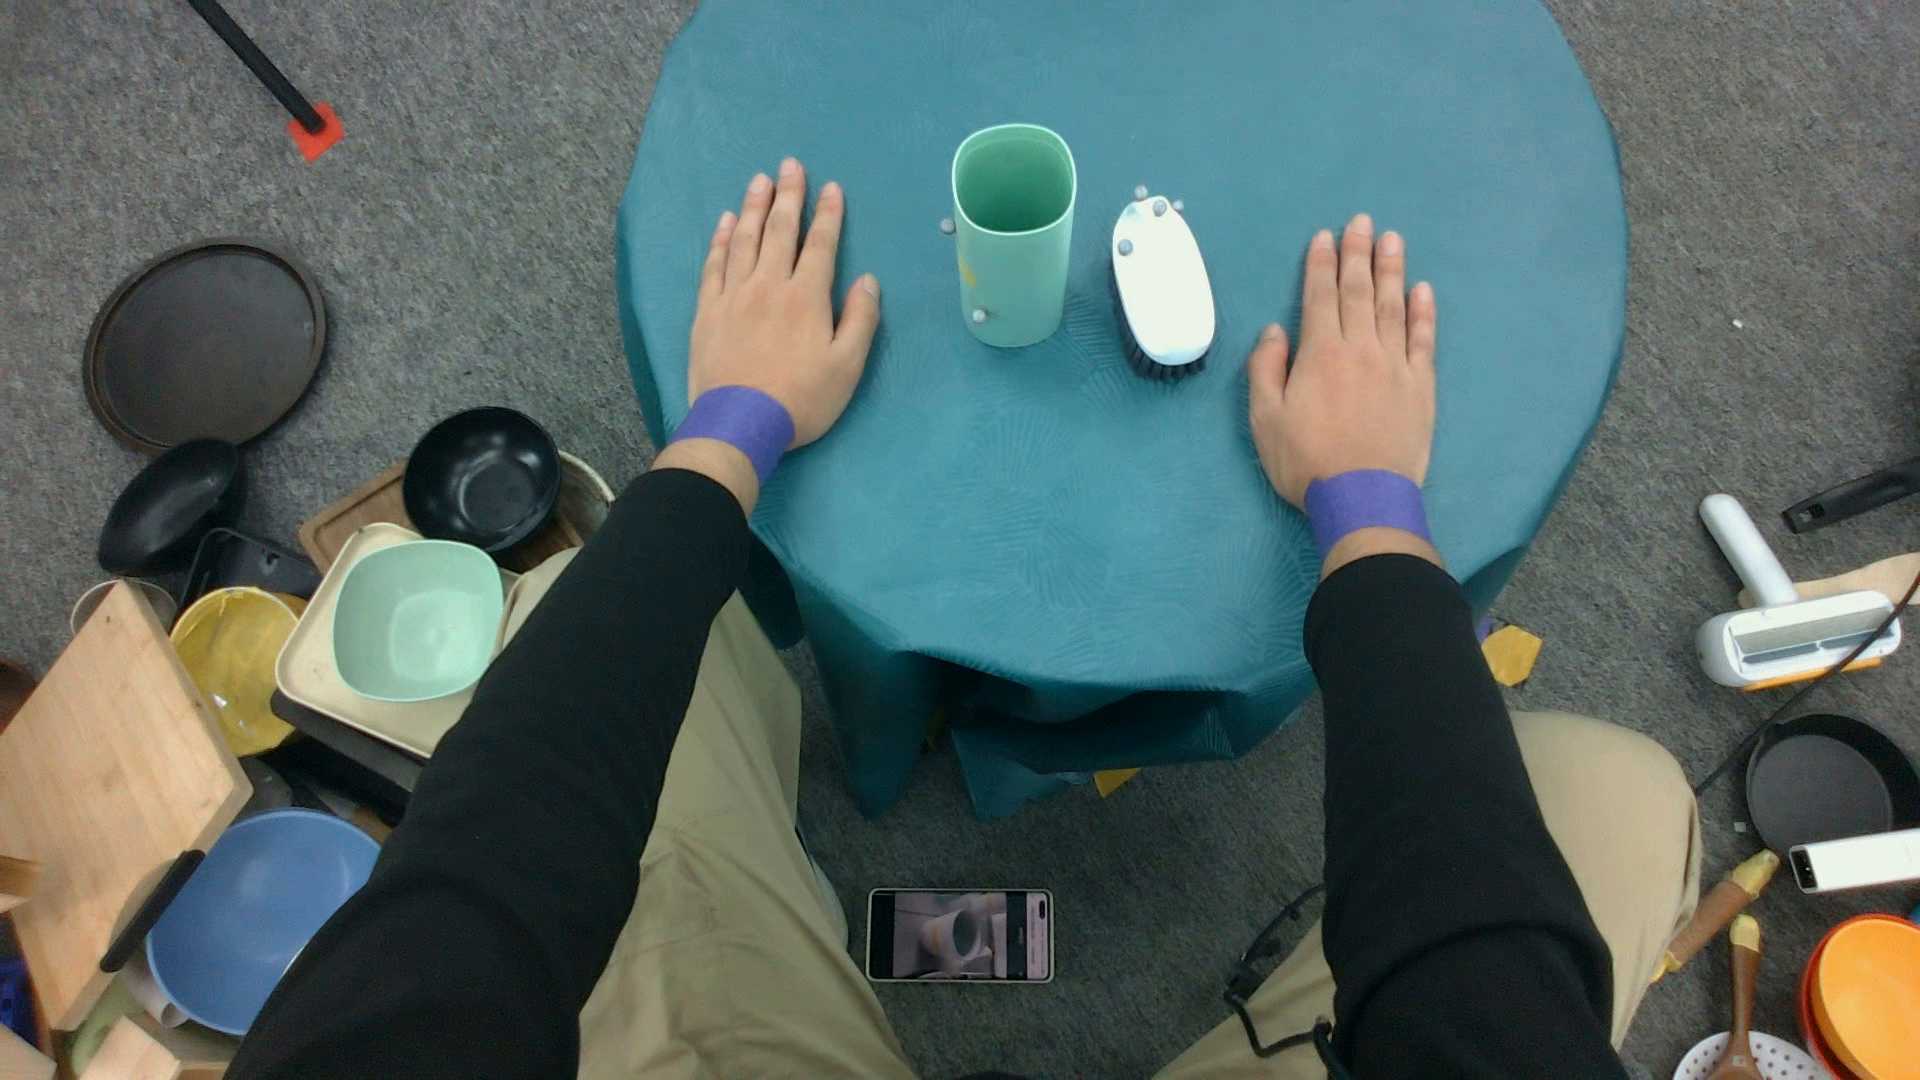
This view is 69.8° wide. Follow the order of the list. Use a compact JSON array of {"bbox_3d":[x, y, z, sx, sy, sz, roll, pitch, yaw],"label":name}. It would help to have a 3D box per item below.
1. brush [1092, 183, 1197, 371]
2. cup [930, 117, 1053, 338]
[{"bbox_3d":[0.105,-0.154,0.775,0.050,0.072,0.099,-11,72,-1],"label":"brush"},{"bbox_3d":[0.018,-0.167,0.754,0.067,0.132,0.067,0,72,1],"label":"cup"}]
